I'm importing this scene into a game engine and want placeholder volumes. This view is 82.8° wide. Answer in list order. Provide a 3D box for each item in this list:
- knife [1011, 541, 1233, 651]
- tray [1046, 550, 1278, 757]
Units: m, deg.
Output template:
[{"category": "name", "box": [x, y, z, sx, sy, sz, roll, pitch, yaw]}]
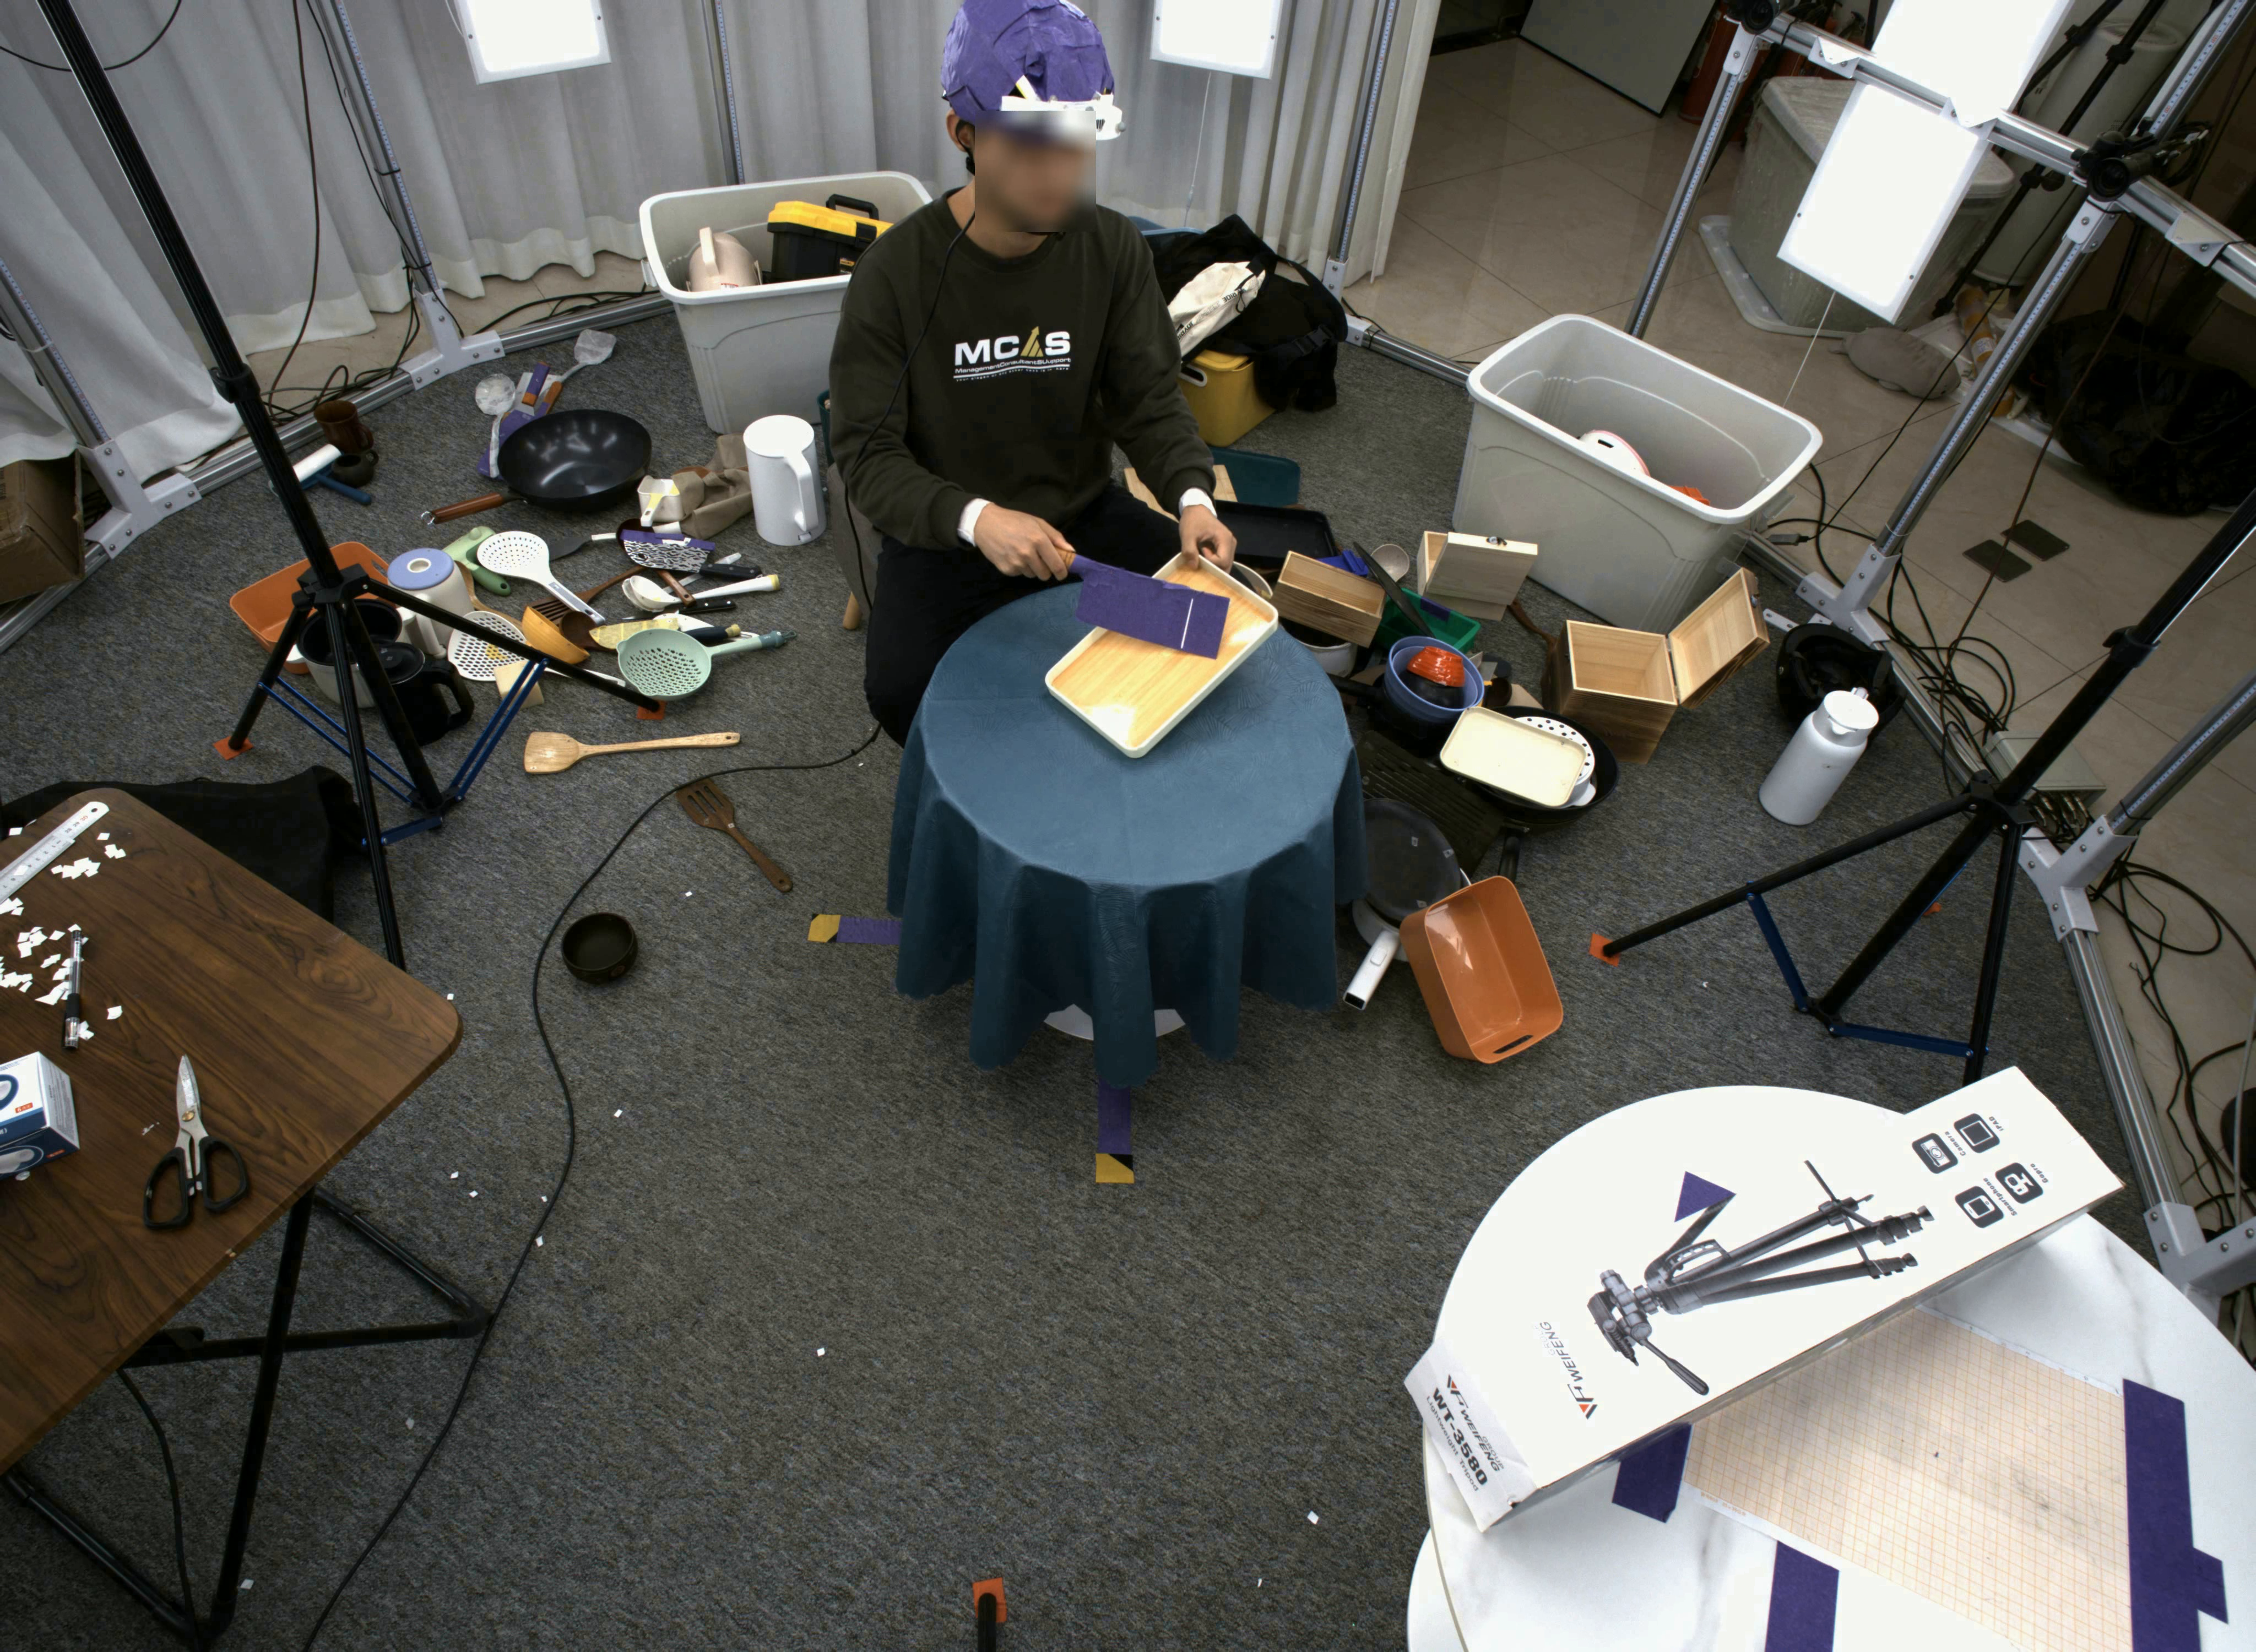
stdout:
[{"category": "knife", "box": [-0.015, -0.315, 1.789, 0.316, 0.102, 0.032, 16, 25, 7]}, {"category": "tray", "box": [0.049, -0.248, 1.811, 0.302, 0.027, 0.194, -43, 63, -14]}]
